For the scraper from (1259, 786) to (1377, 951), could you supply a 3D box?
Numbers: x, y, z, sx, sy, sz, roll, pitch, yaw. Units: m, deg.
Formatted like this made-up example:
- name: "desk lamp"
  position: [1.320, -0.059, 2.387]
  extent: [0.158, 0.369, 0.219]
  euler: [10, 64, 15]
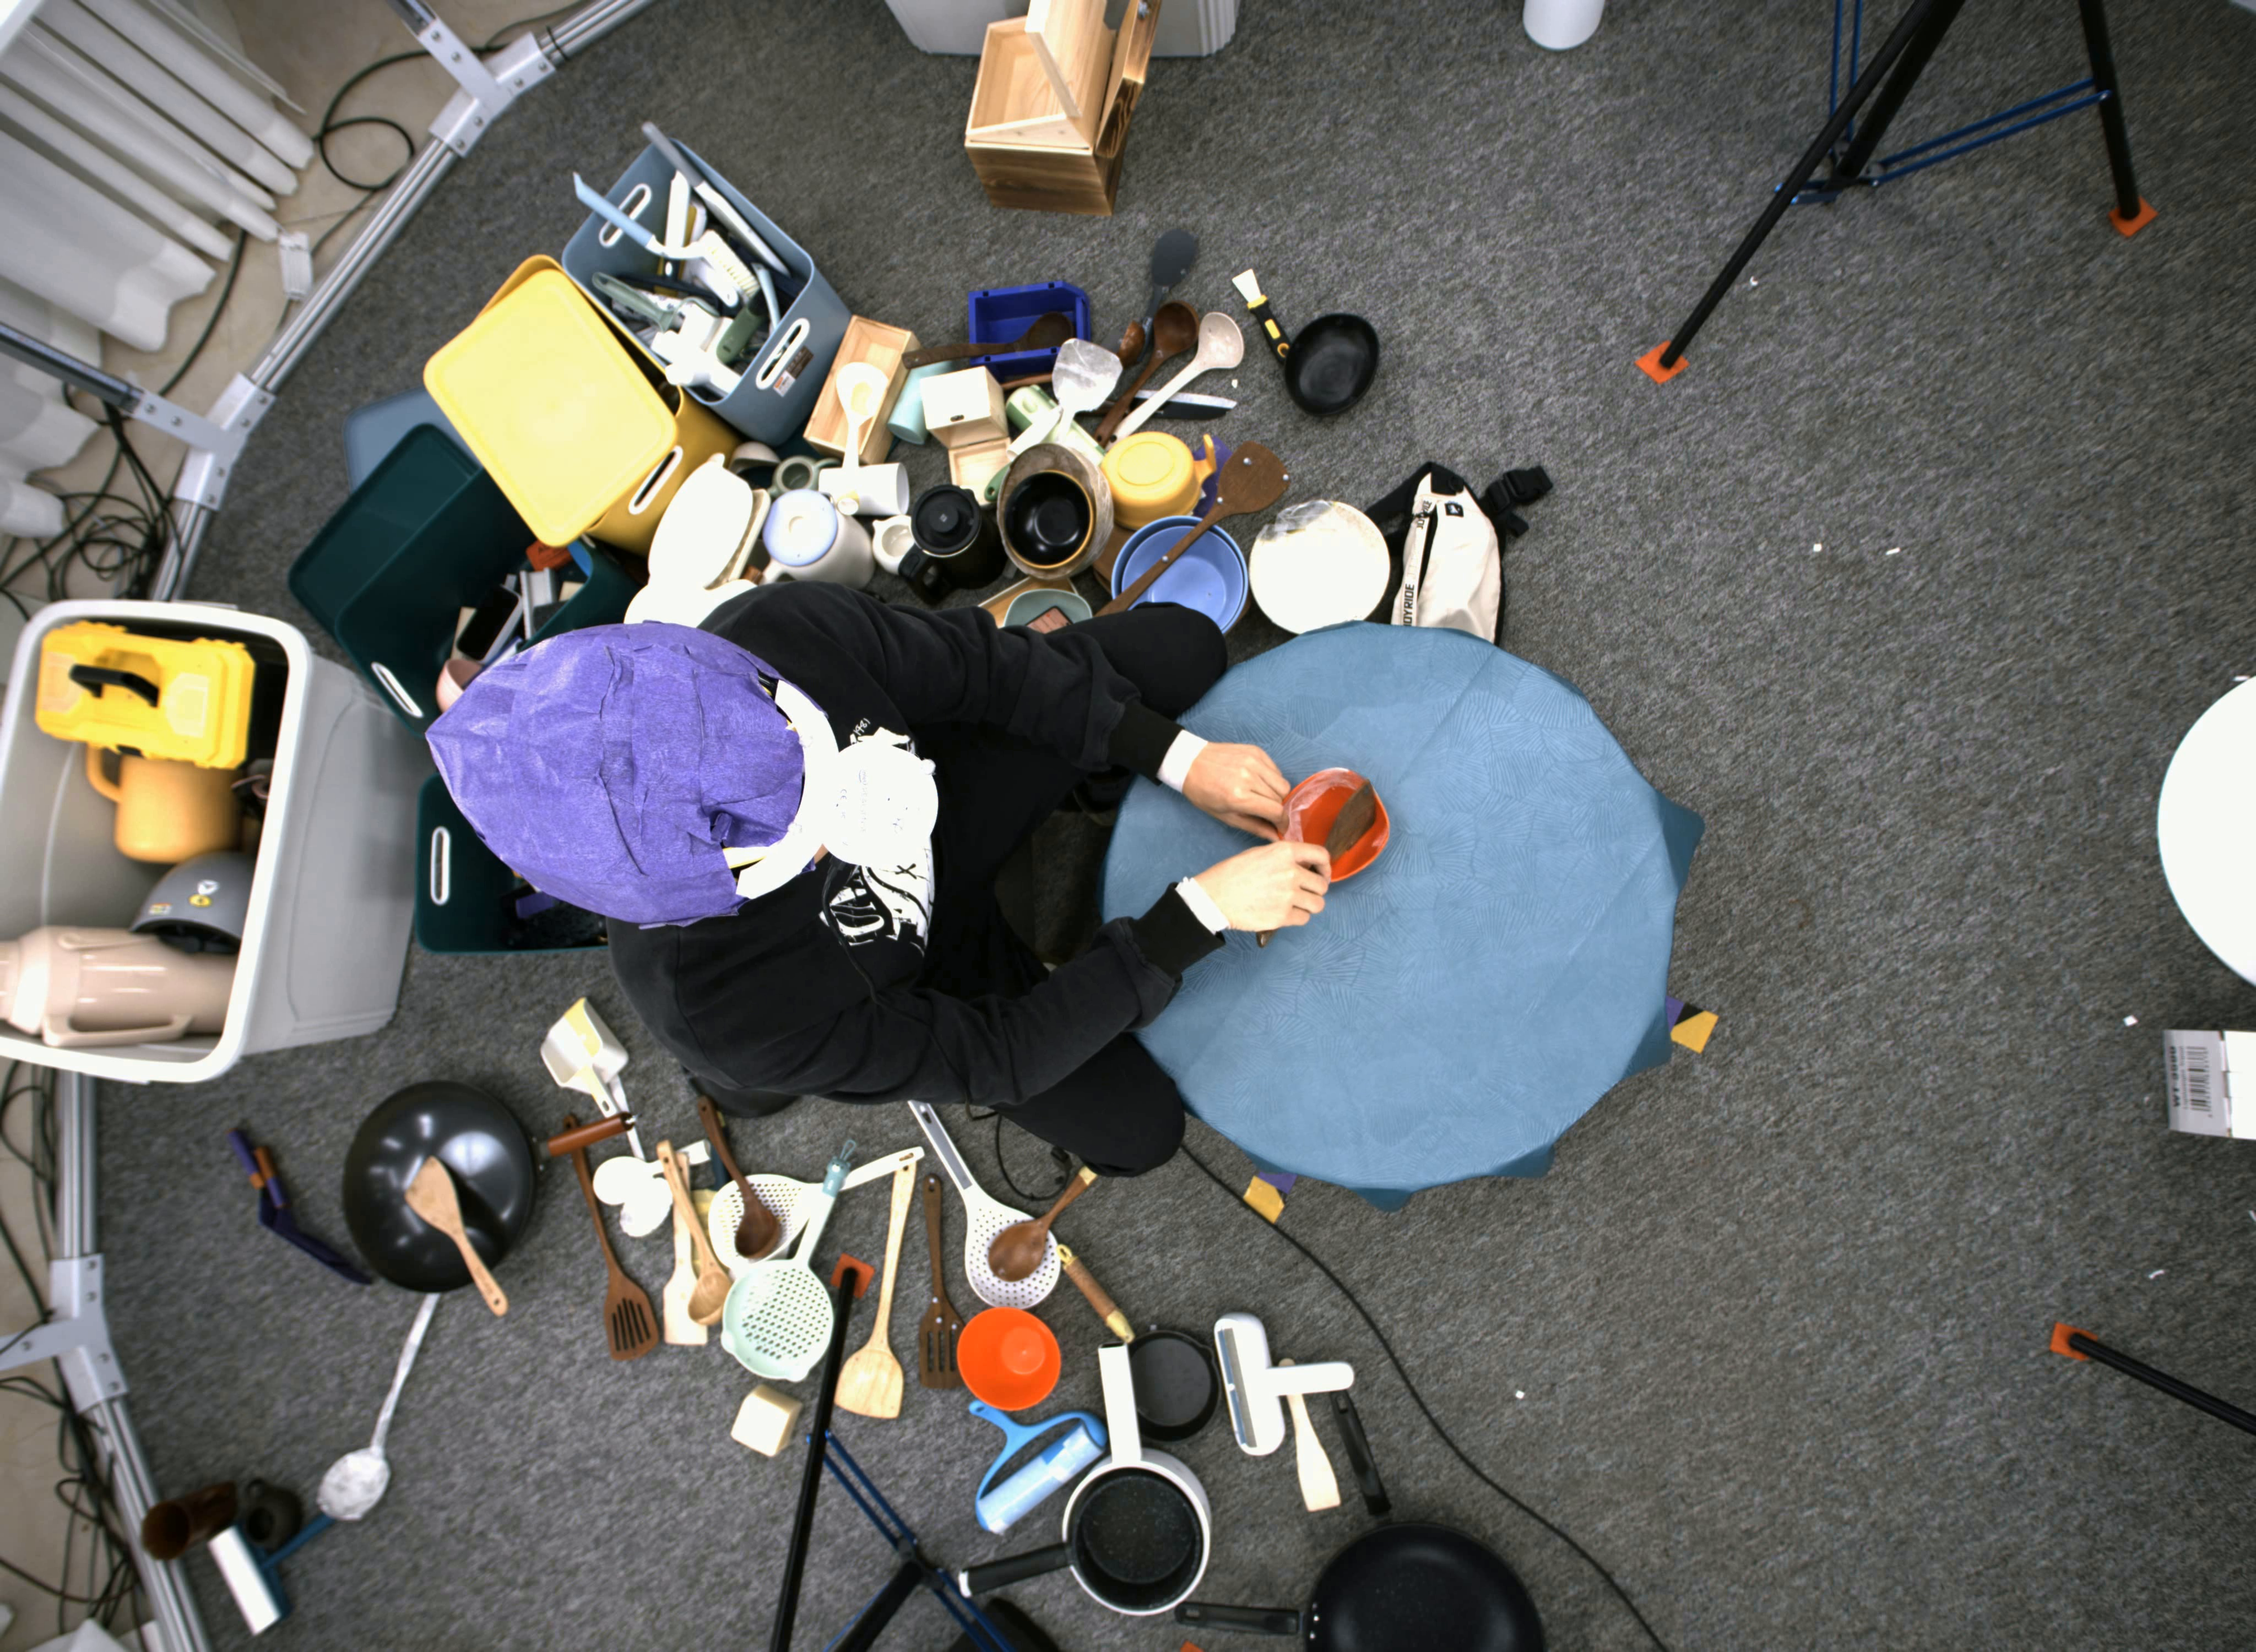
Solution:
- name: "scraper"
  position: [0.191, 0.045, 1.385]
  extent: [0.011, 0.077, 0.207]
  euler: [27, 61, 30]

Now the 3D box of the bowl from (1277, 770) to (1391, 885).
- name: "bowl"
  position: [0.212, 0.000, 1.448]
  extent: [0.119, 0.051, 0.119]
  euler: [0, 96, -2]
